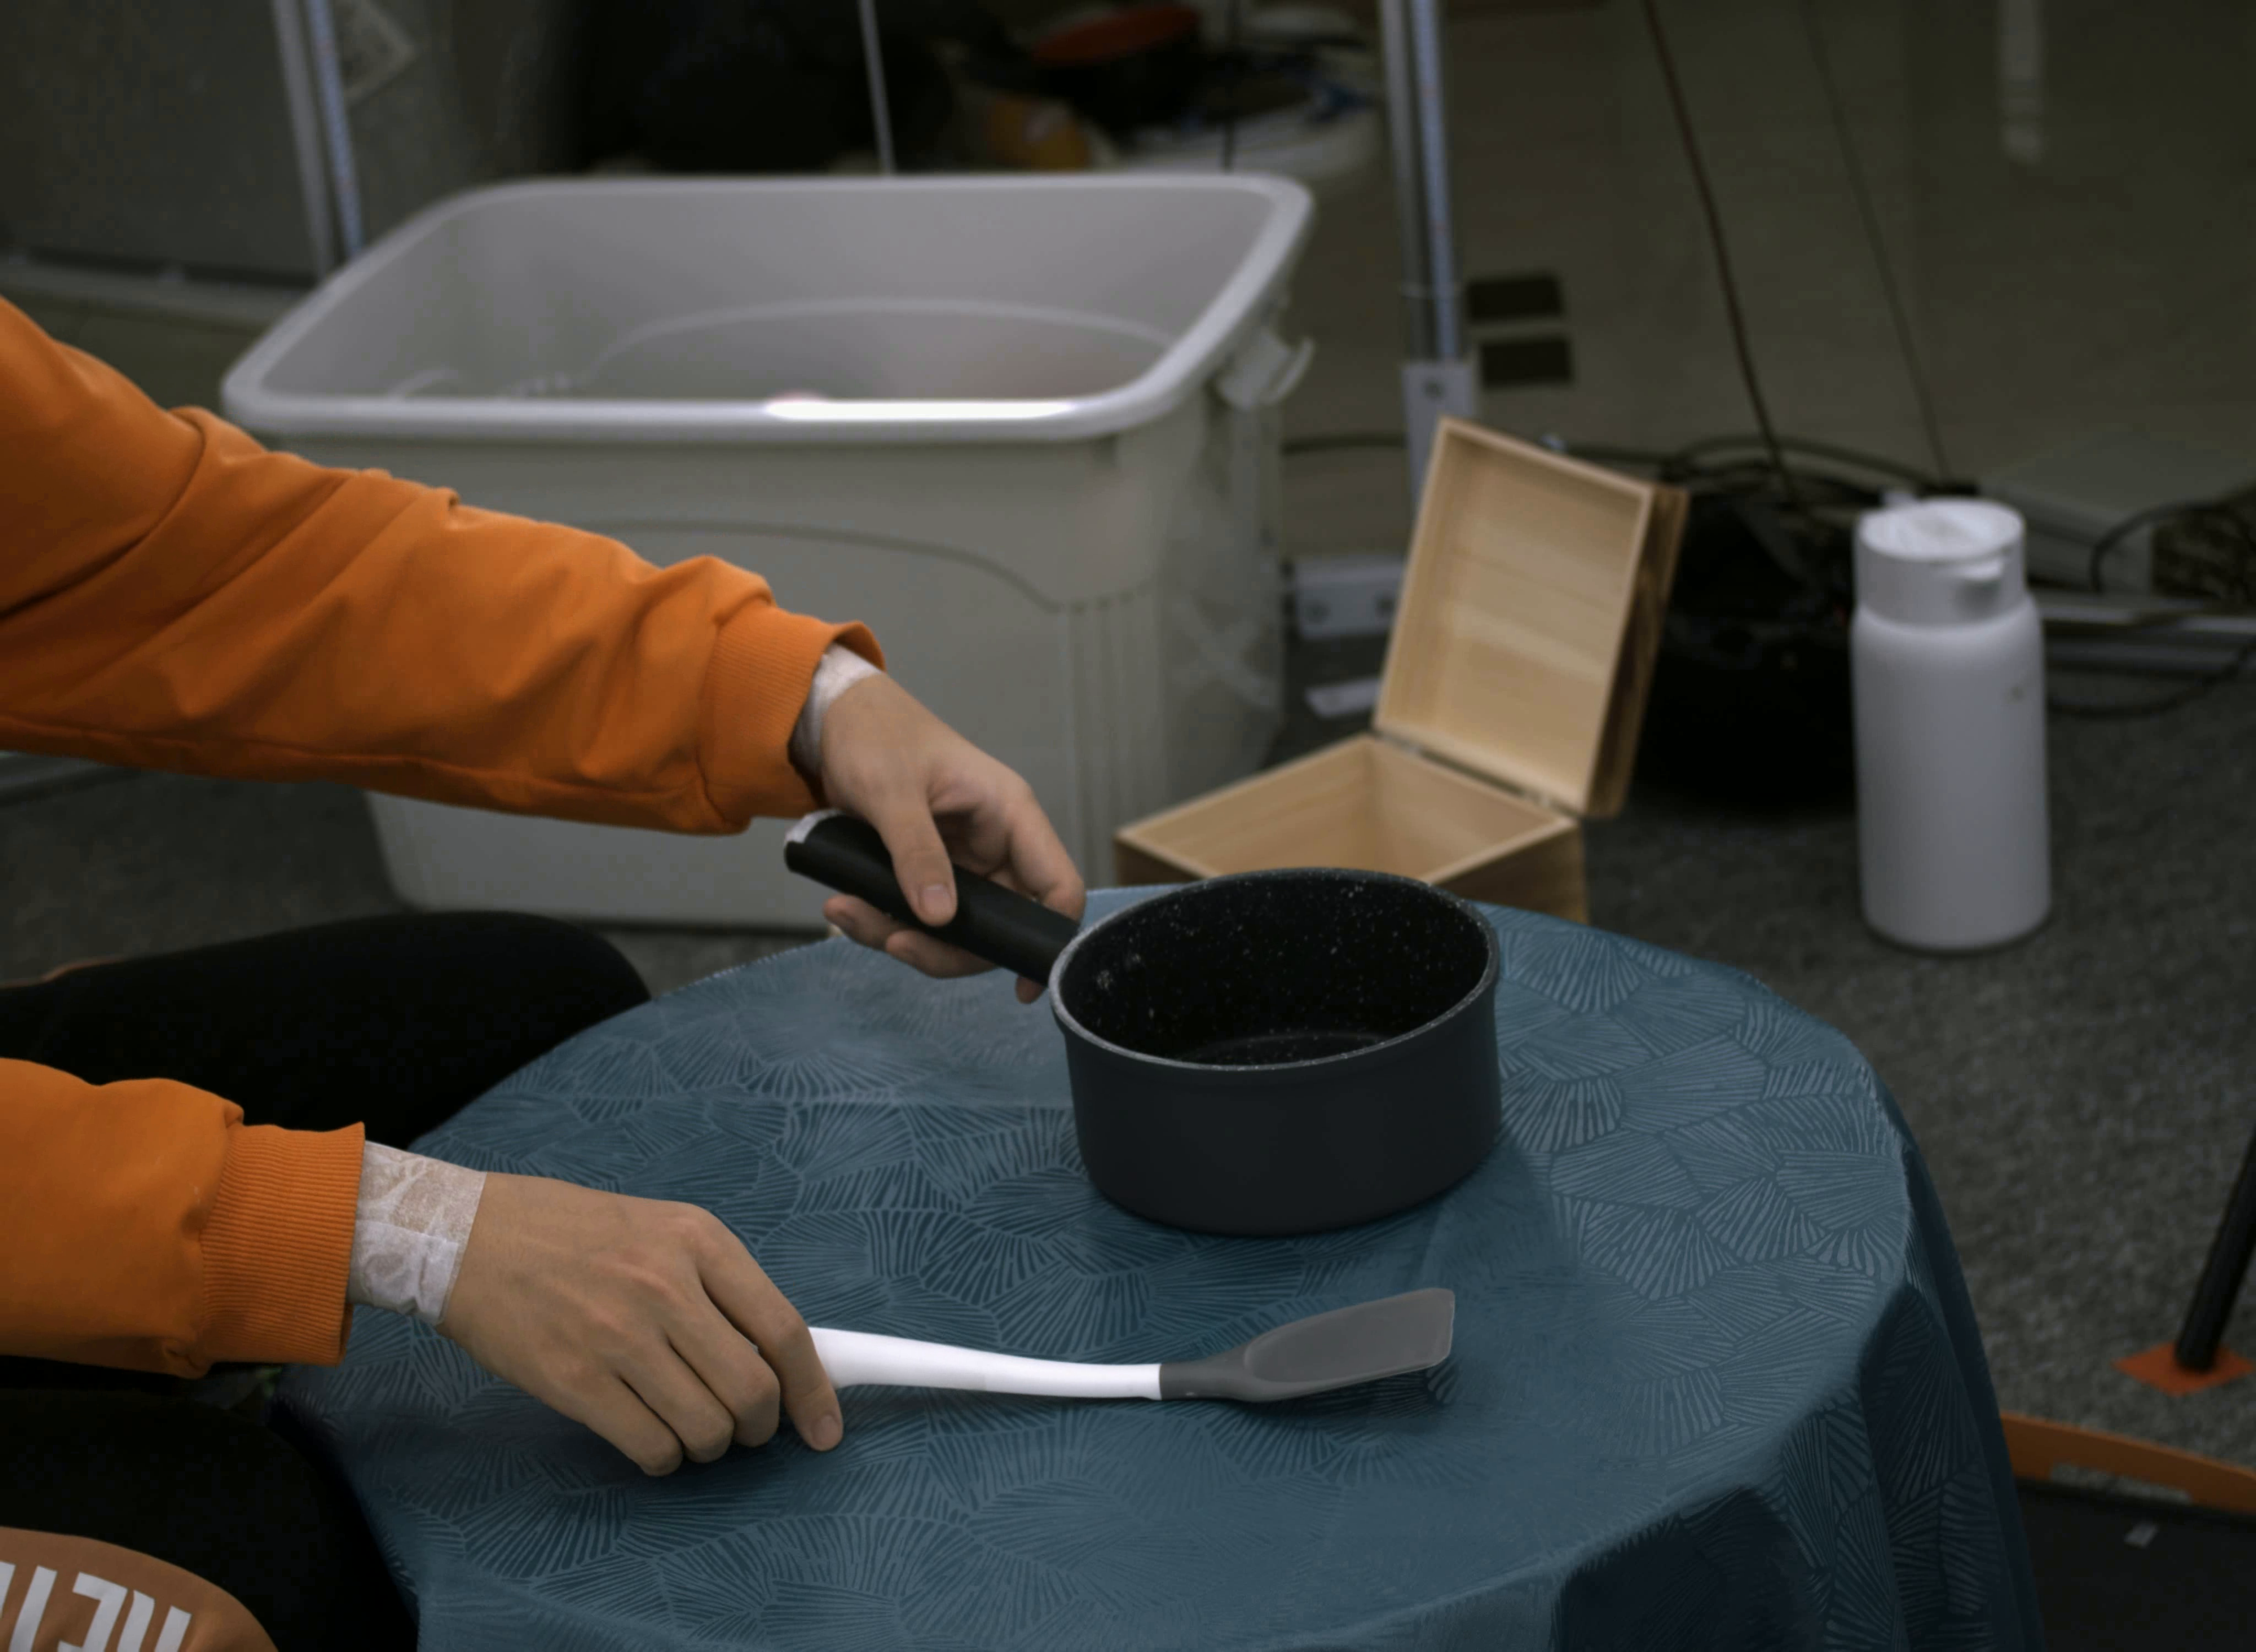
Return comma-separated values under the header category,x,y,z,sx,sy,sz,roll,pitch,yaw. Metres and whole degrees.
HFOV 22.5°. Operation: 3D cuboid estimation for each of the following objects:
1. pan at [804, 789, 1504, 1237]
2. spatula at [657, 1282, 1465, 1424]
category,x,y,z,sx,sy,sz,roll,pitch,yaw
pan,0.000,0.065,2.203,0.326,0.088,0.170,18,34,39
spatula,-0.023,0.189,2.008,0.287,0.033,0.058,-3,22,8
